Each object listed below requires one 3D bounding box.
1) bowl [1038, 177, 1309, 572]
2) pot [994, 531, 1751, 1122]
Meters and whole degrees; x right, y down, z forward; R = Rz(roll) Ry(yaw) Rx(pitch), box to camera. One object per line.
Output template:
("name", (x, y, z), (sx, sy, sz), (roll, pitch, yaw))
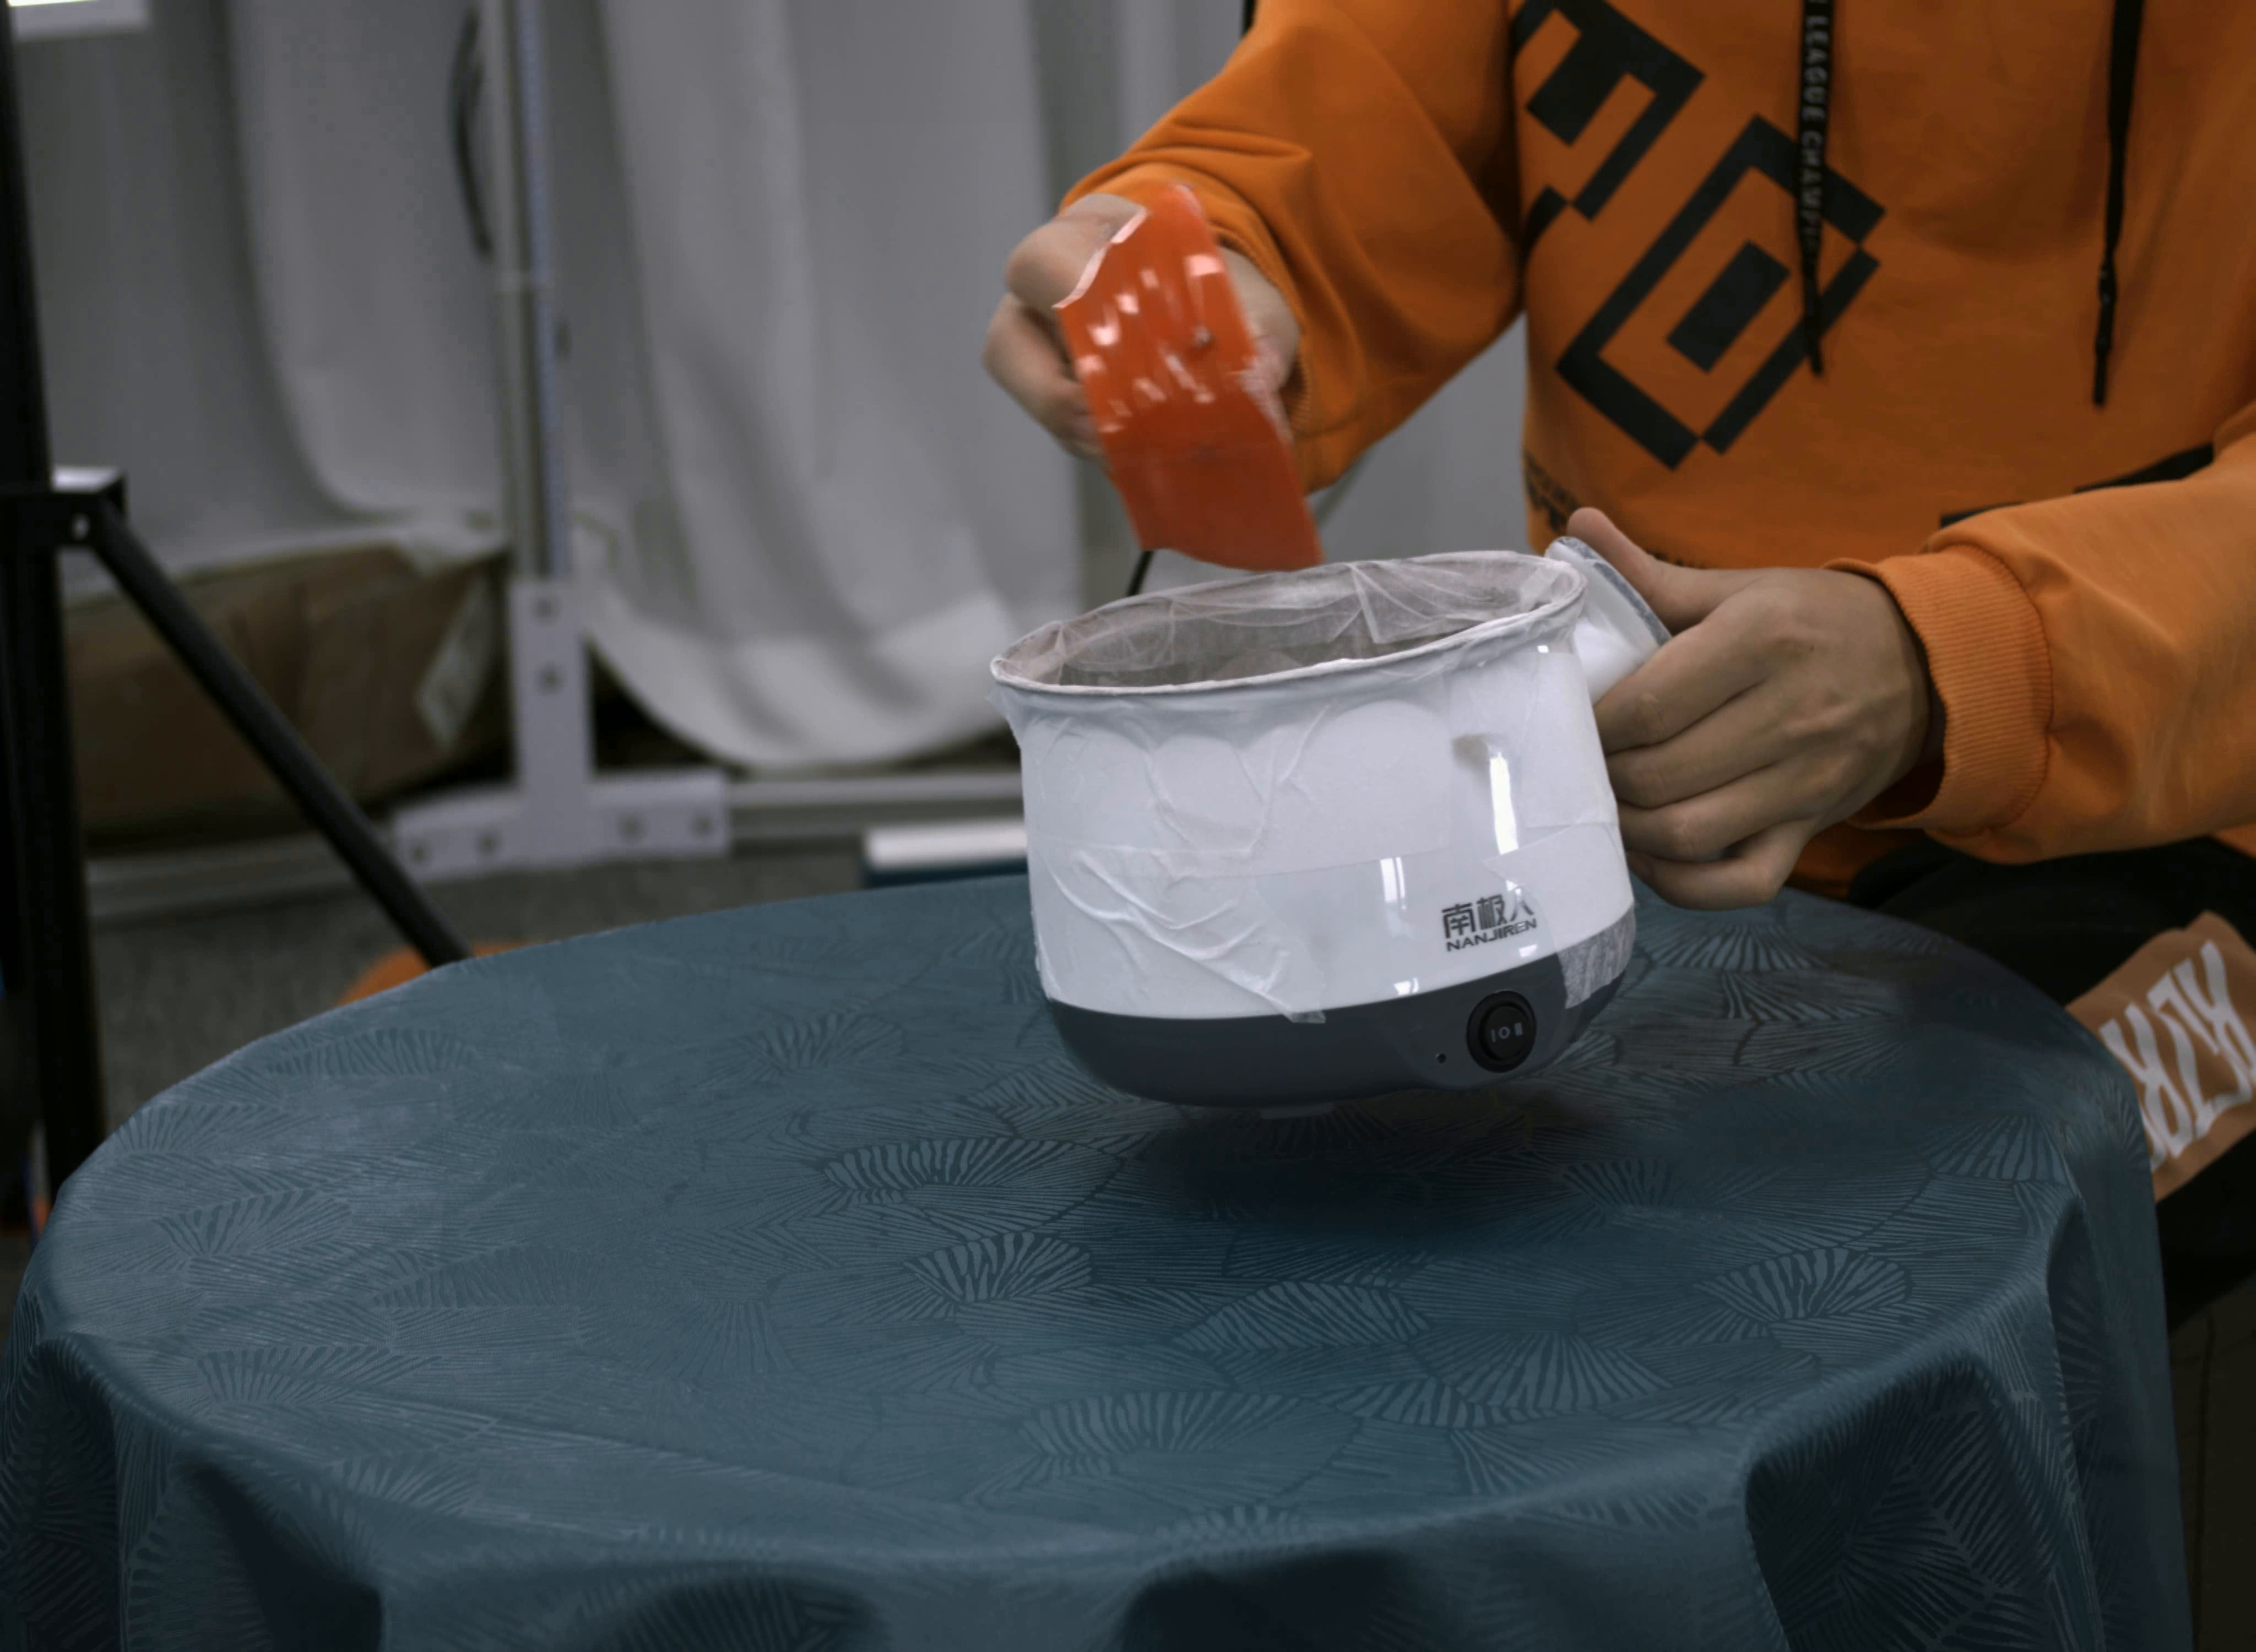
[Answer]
("bowl", (0.011, -0.124, 1.553), (0.051, 0.118, 0.120), (-20, 16, 2))
("pot", (0.080, -0.005, 1.575), (0.229, 0.136, 0.182), (-15, 13, -28))
